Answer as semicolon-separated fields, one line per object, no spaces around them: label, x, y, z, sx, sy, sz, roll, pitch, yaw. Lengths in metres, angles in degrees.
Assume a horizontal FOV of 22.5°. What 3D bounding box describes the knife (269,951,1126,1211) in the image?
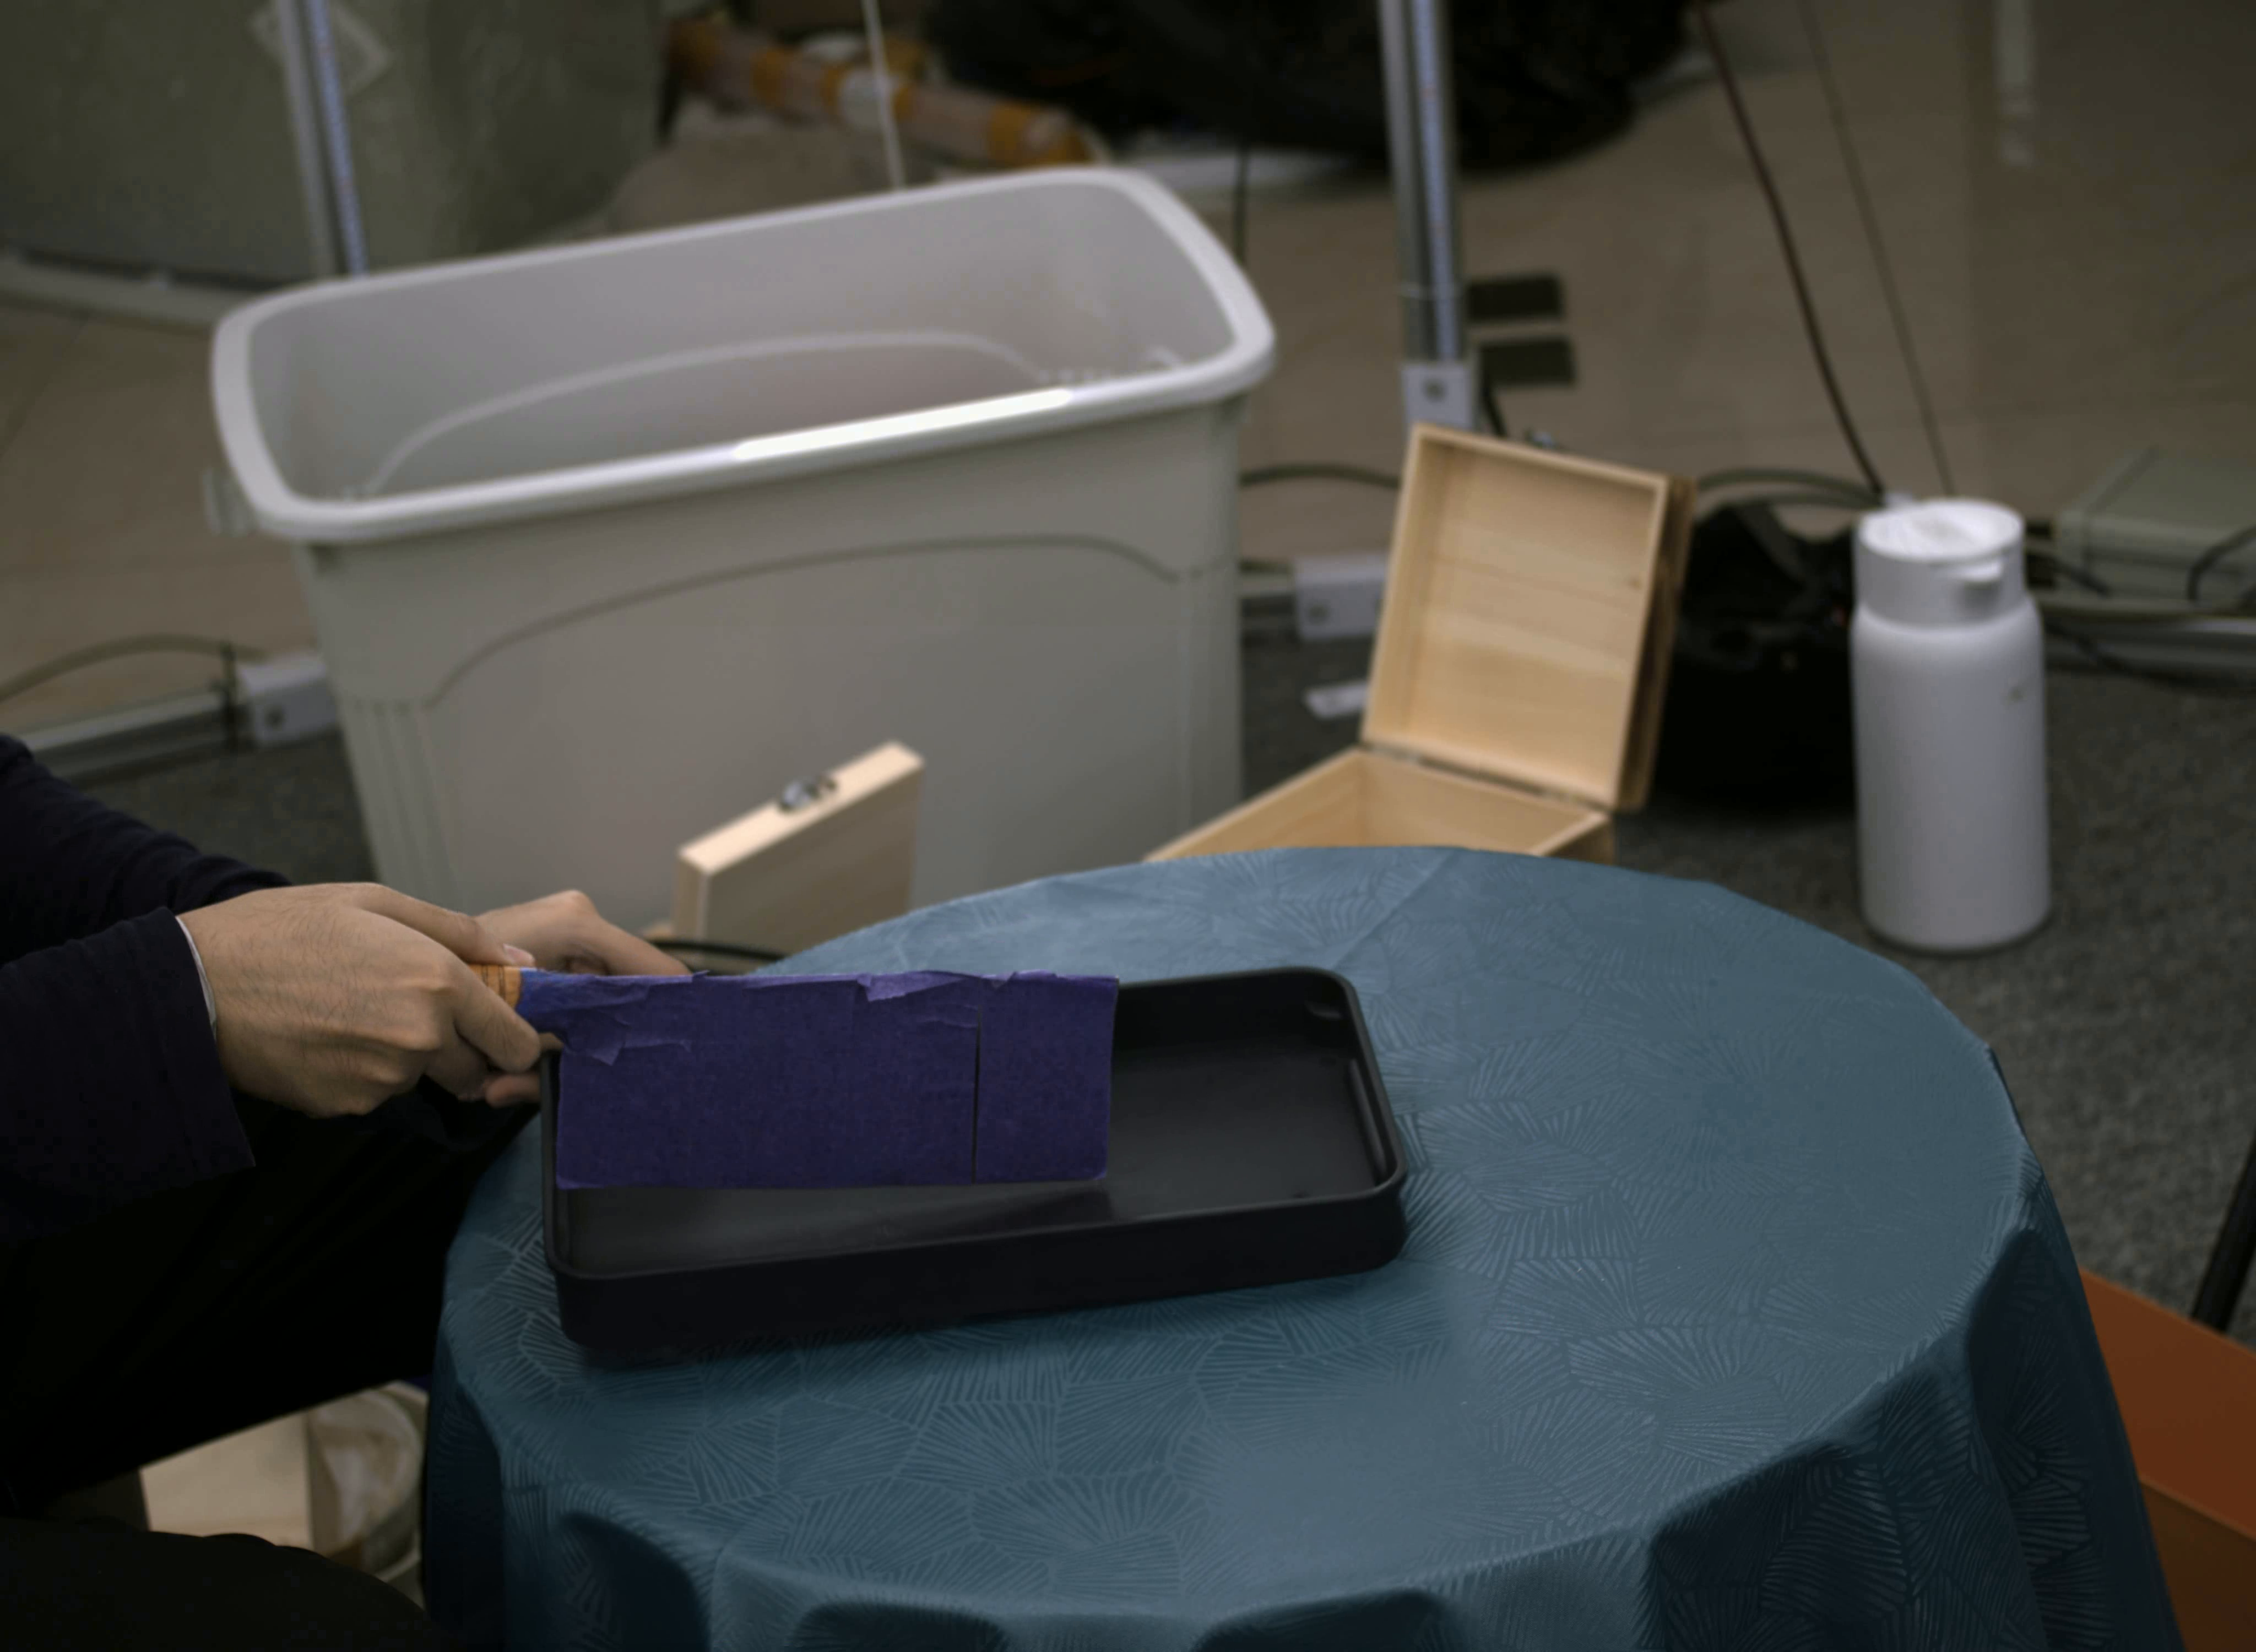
knife;-0.156;0.095;2.082;0.315;0.105;0.032;0;27;-8

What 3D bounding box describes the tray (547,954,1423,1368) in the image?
tray;-0.056;0.124;2.138;0.317;0.037;0.181;-8;28;-4
